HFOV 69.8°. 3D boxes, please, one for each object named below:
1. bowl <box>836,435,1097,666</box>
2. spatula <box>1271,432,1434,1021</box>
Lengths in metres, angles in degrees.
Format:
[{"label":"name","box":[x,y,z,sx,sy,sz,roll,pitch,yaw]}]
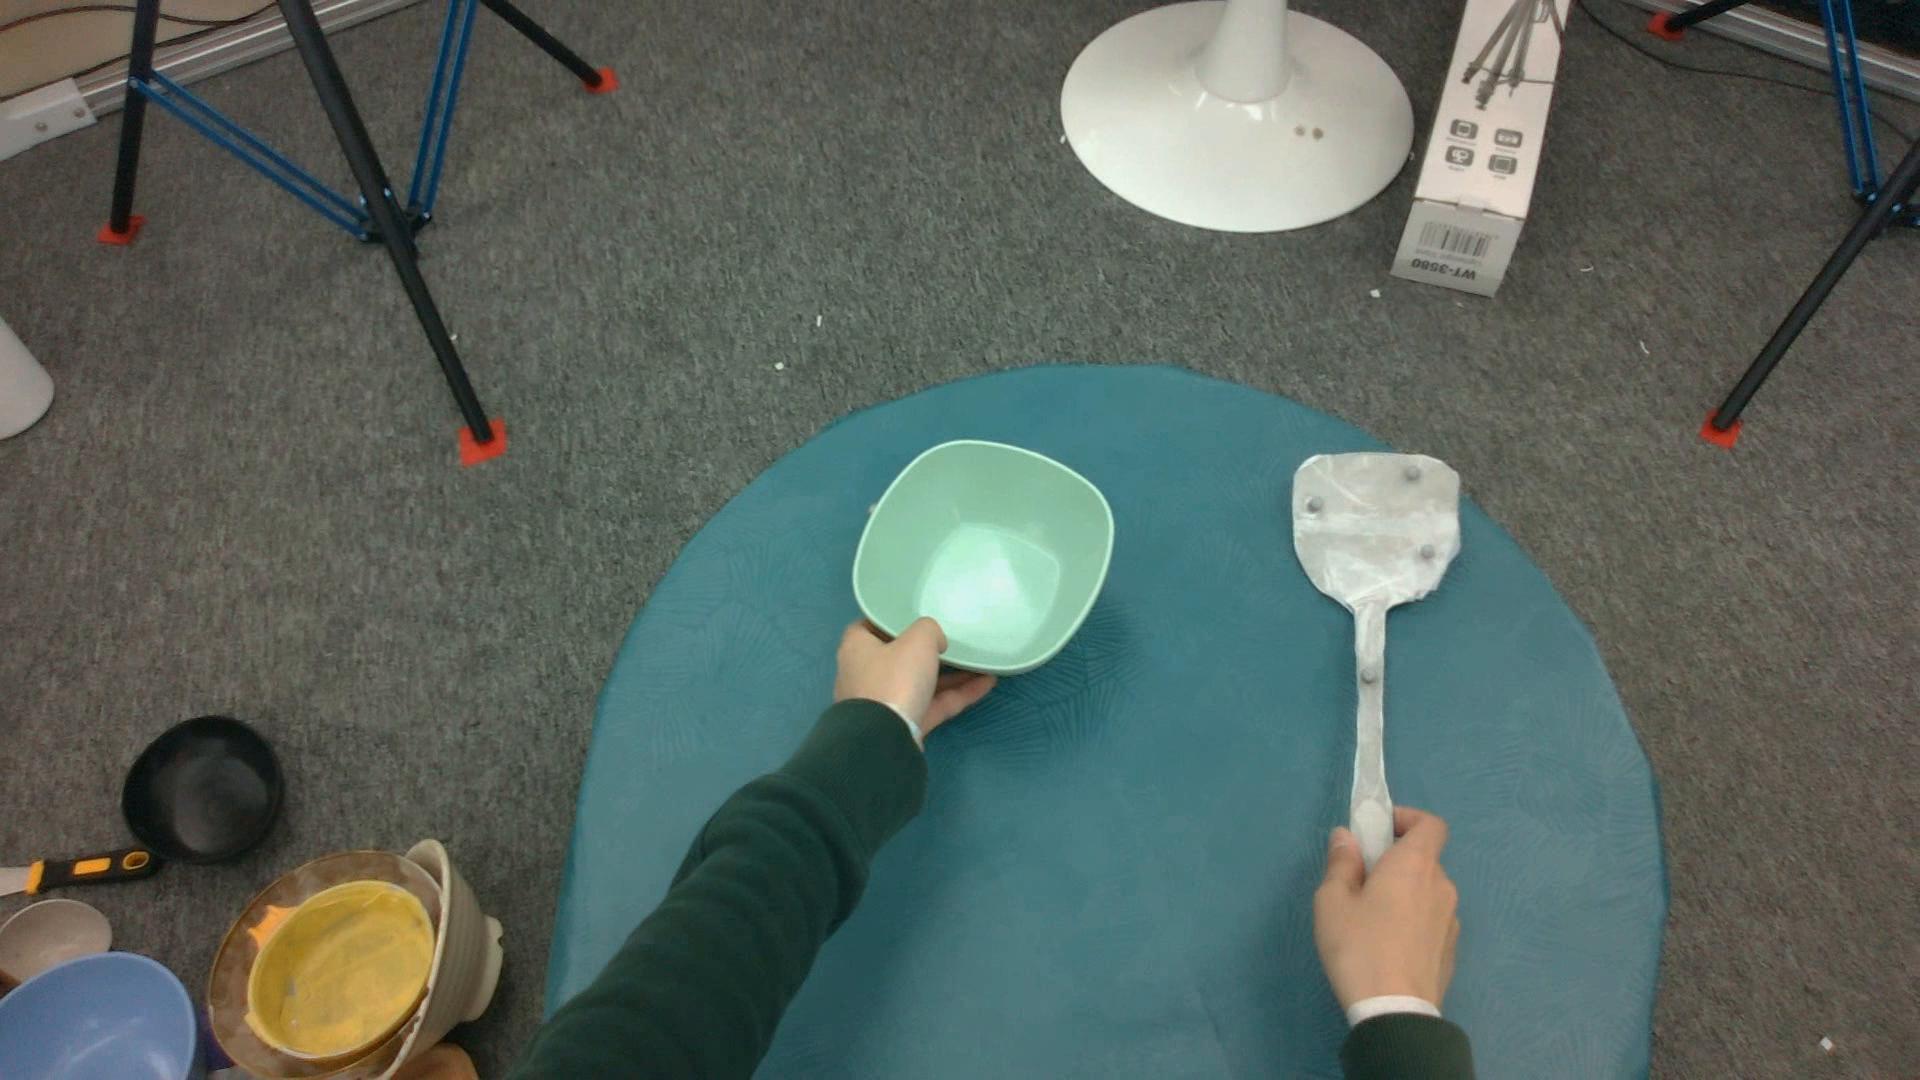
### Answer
[{"label":"bowl","box":[0.006,0.014,0.790,0.151,0.058,0.152,-3,60,5]},{"label":"spatula","box":[0.217,0.083,0.763,0.098,0.044,0.367,1,48,14]}]
